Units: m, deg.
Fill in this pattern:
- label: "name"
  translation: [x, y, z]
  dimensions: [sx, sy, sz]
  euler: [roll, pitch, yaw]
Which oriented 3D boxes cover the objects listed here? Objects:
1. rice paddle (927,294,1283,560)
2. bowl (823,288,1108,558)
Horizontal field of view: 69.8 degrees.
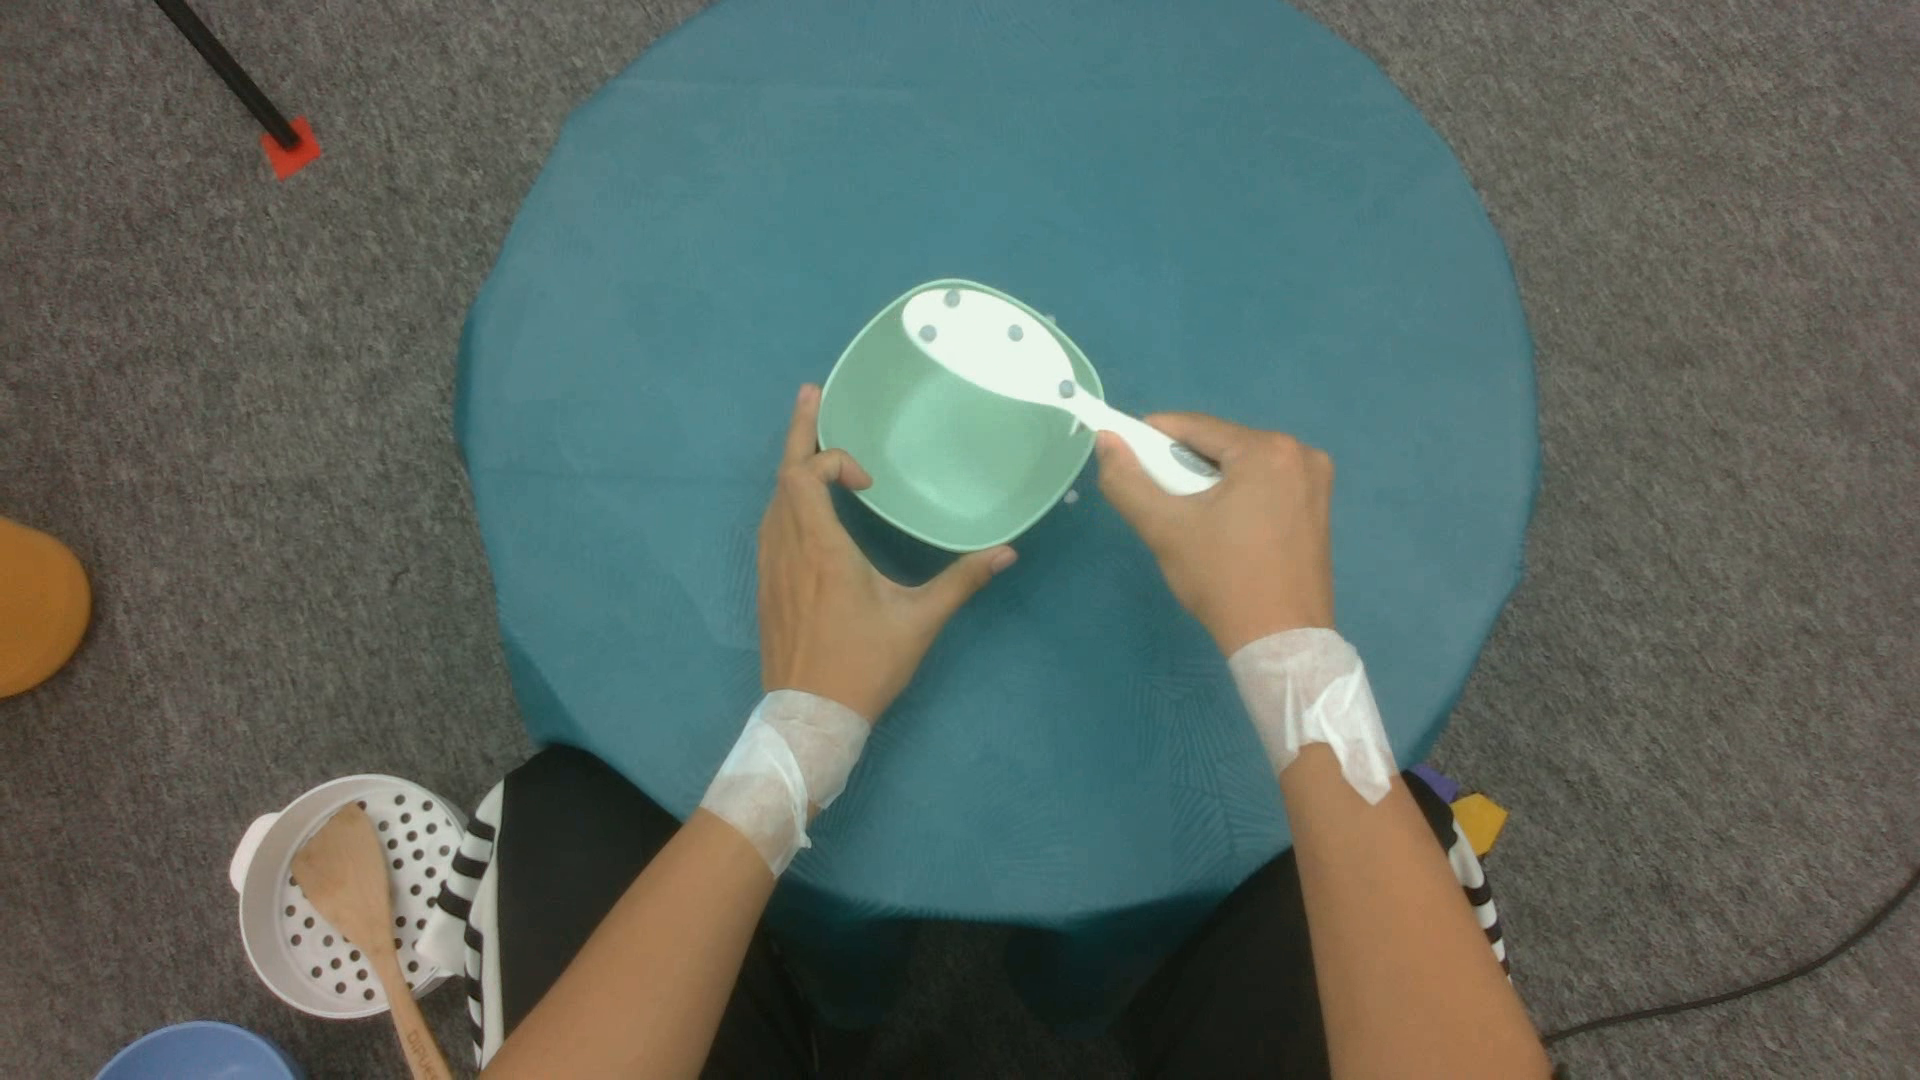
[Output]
- label: "rice paddle"
  translation: [0.065, -0.064, 0.665]
  dimensions: [0.205, 0.029, 0.069]
  euler: [40, 42, 19]
- label: "bowl"
  translation: [0.003, -0.057, 0.752]
  dimensions: [0.151, 0.058, 0.152]
  euler: [0, 74, 0]
